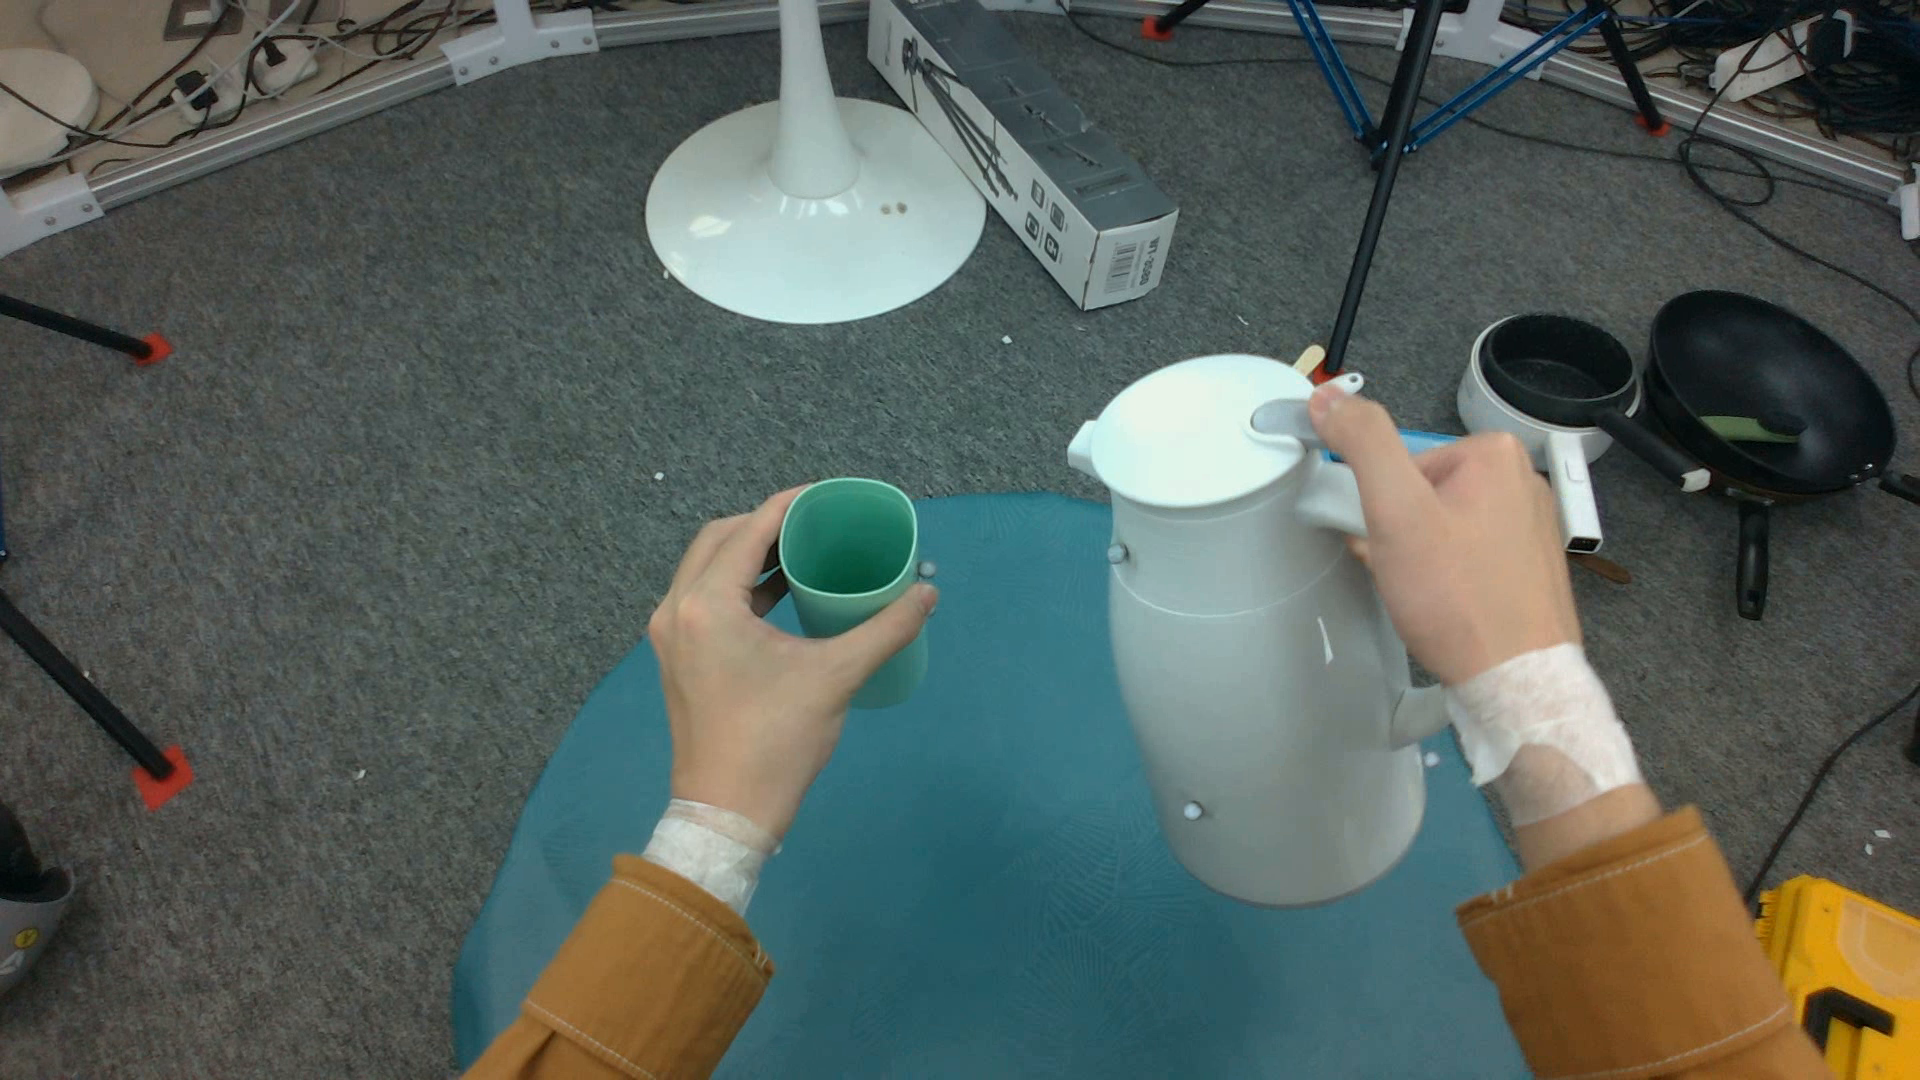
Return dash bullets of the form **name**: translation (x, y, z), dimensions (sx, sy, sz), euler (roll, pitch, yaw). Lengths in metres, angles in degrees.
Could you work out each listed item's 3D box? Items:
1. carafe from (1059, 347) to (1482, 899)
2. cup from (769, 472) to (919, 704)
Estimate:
- **carafe**: translation (0.142, 0.037, 0.605), dimensions (0.167, 0.247, 0.133), euler (9, 48, 32)
- **cup**: translation (-0.054, 0.029, 0.680), dimensions (0.067, 0.132, 0.067), euler (0, 60, 1)
